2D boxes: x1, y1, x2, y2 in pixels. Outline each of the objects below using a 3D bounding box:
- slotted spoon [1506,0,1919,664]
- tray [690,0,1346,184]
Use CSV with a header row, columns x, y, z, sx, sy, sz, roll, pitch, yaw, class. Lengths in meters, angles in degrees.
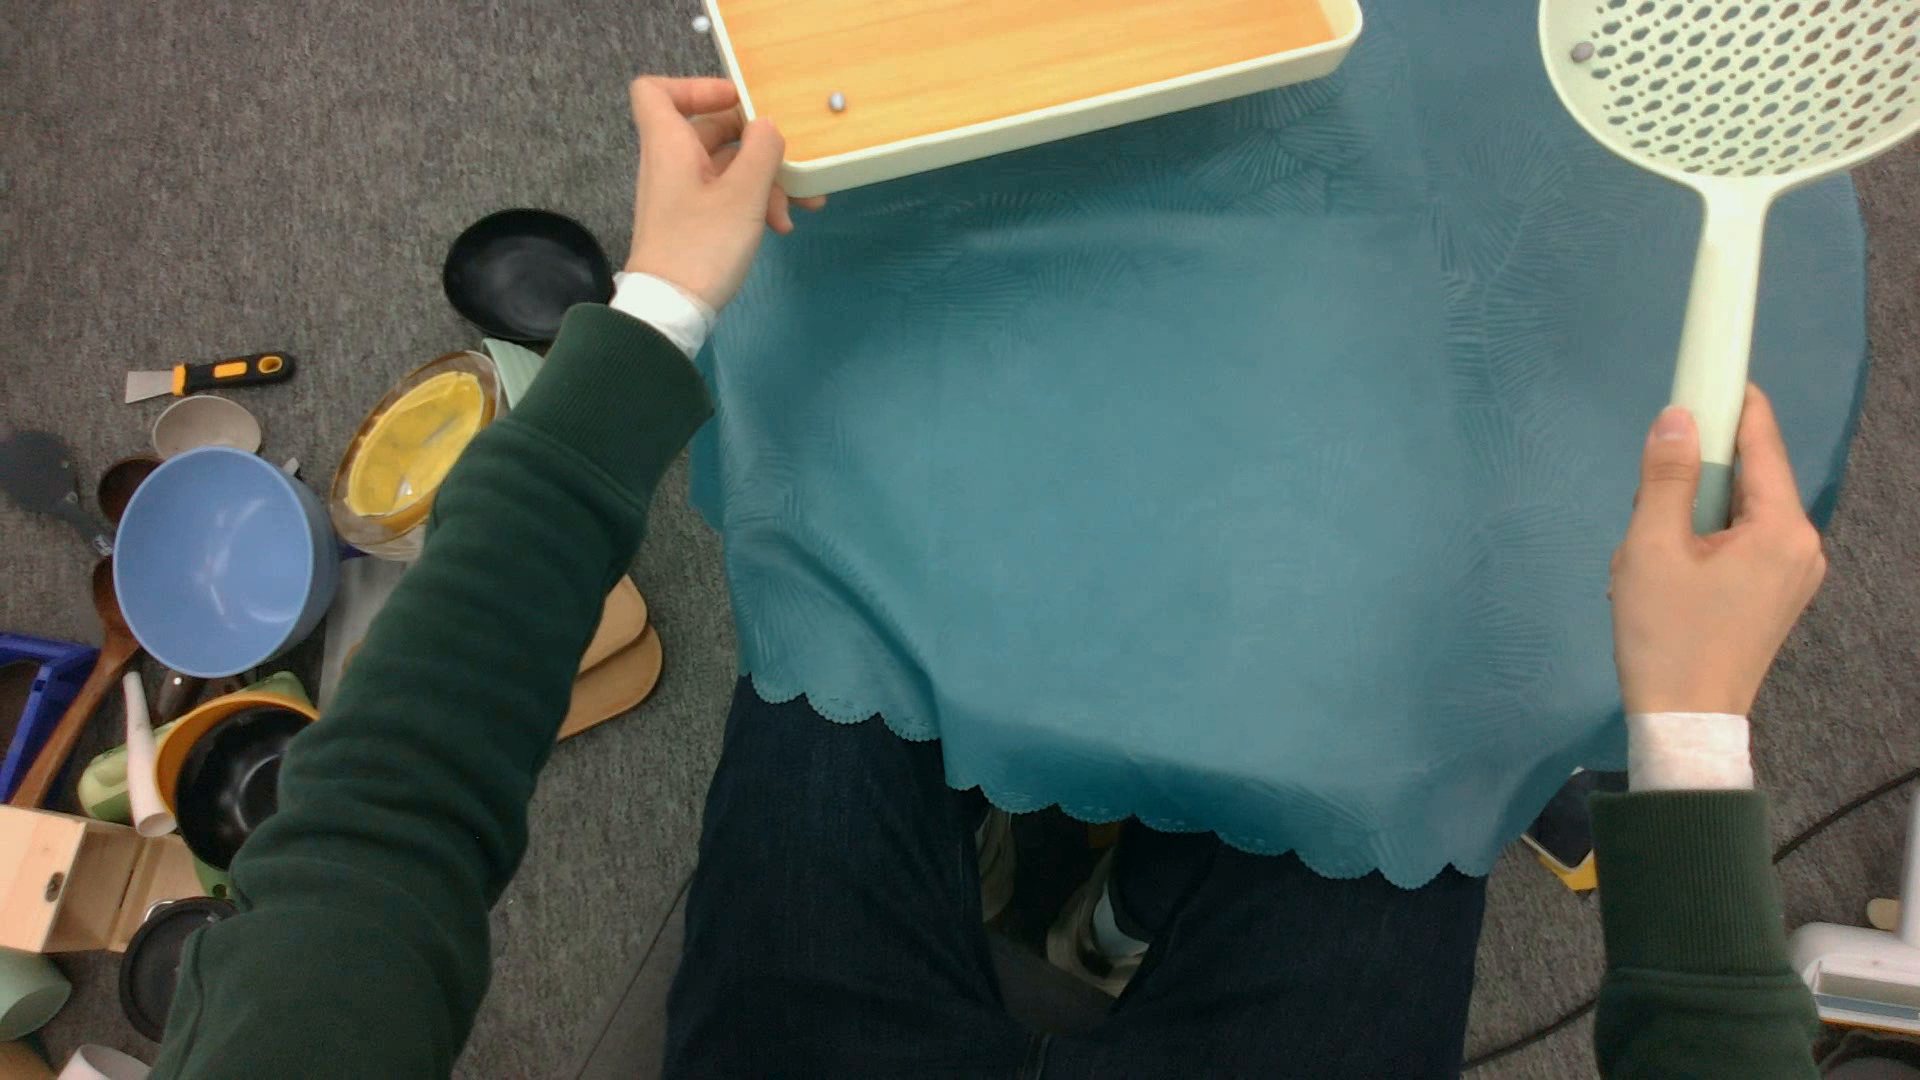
x,y,z,sx,sy,sz,roll,pitch,yaw,class
0.293,-0.132,0.545,0.169,0.075,0.359,7,75,31,slotted spoon
0.019,-0.285,0.662,0.301,0.027,0.192,-16,75,-13,tray
